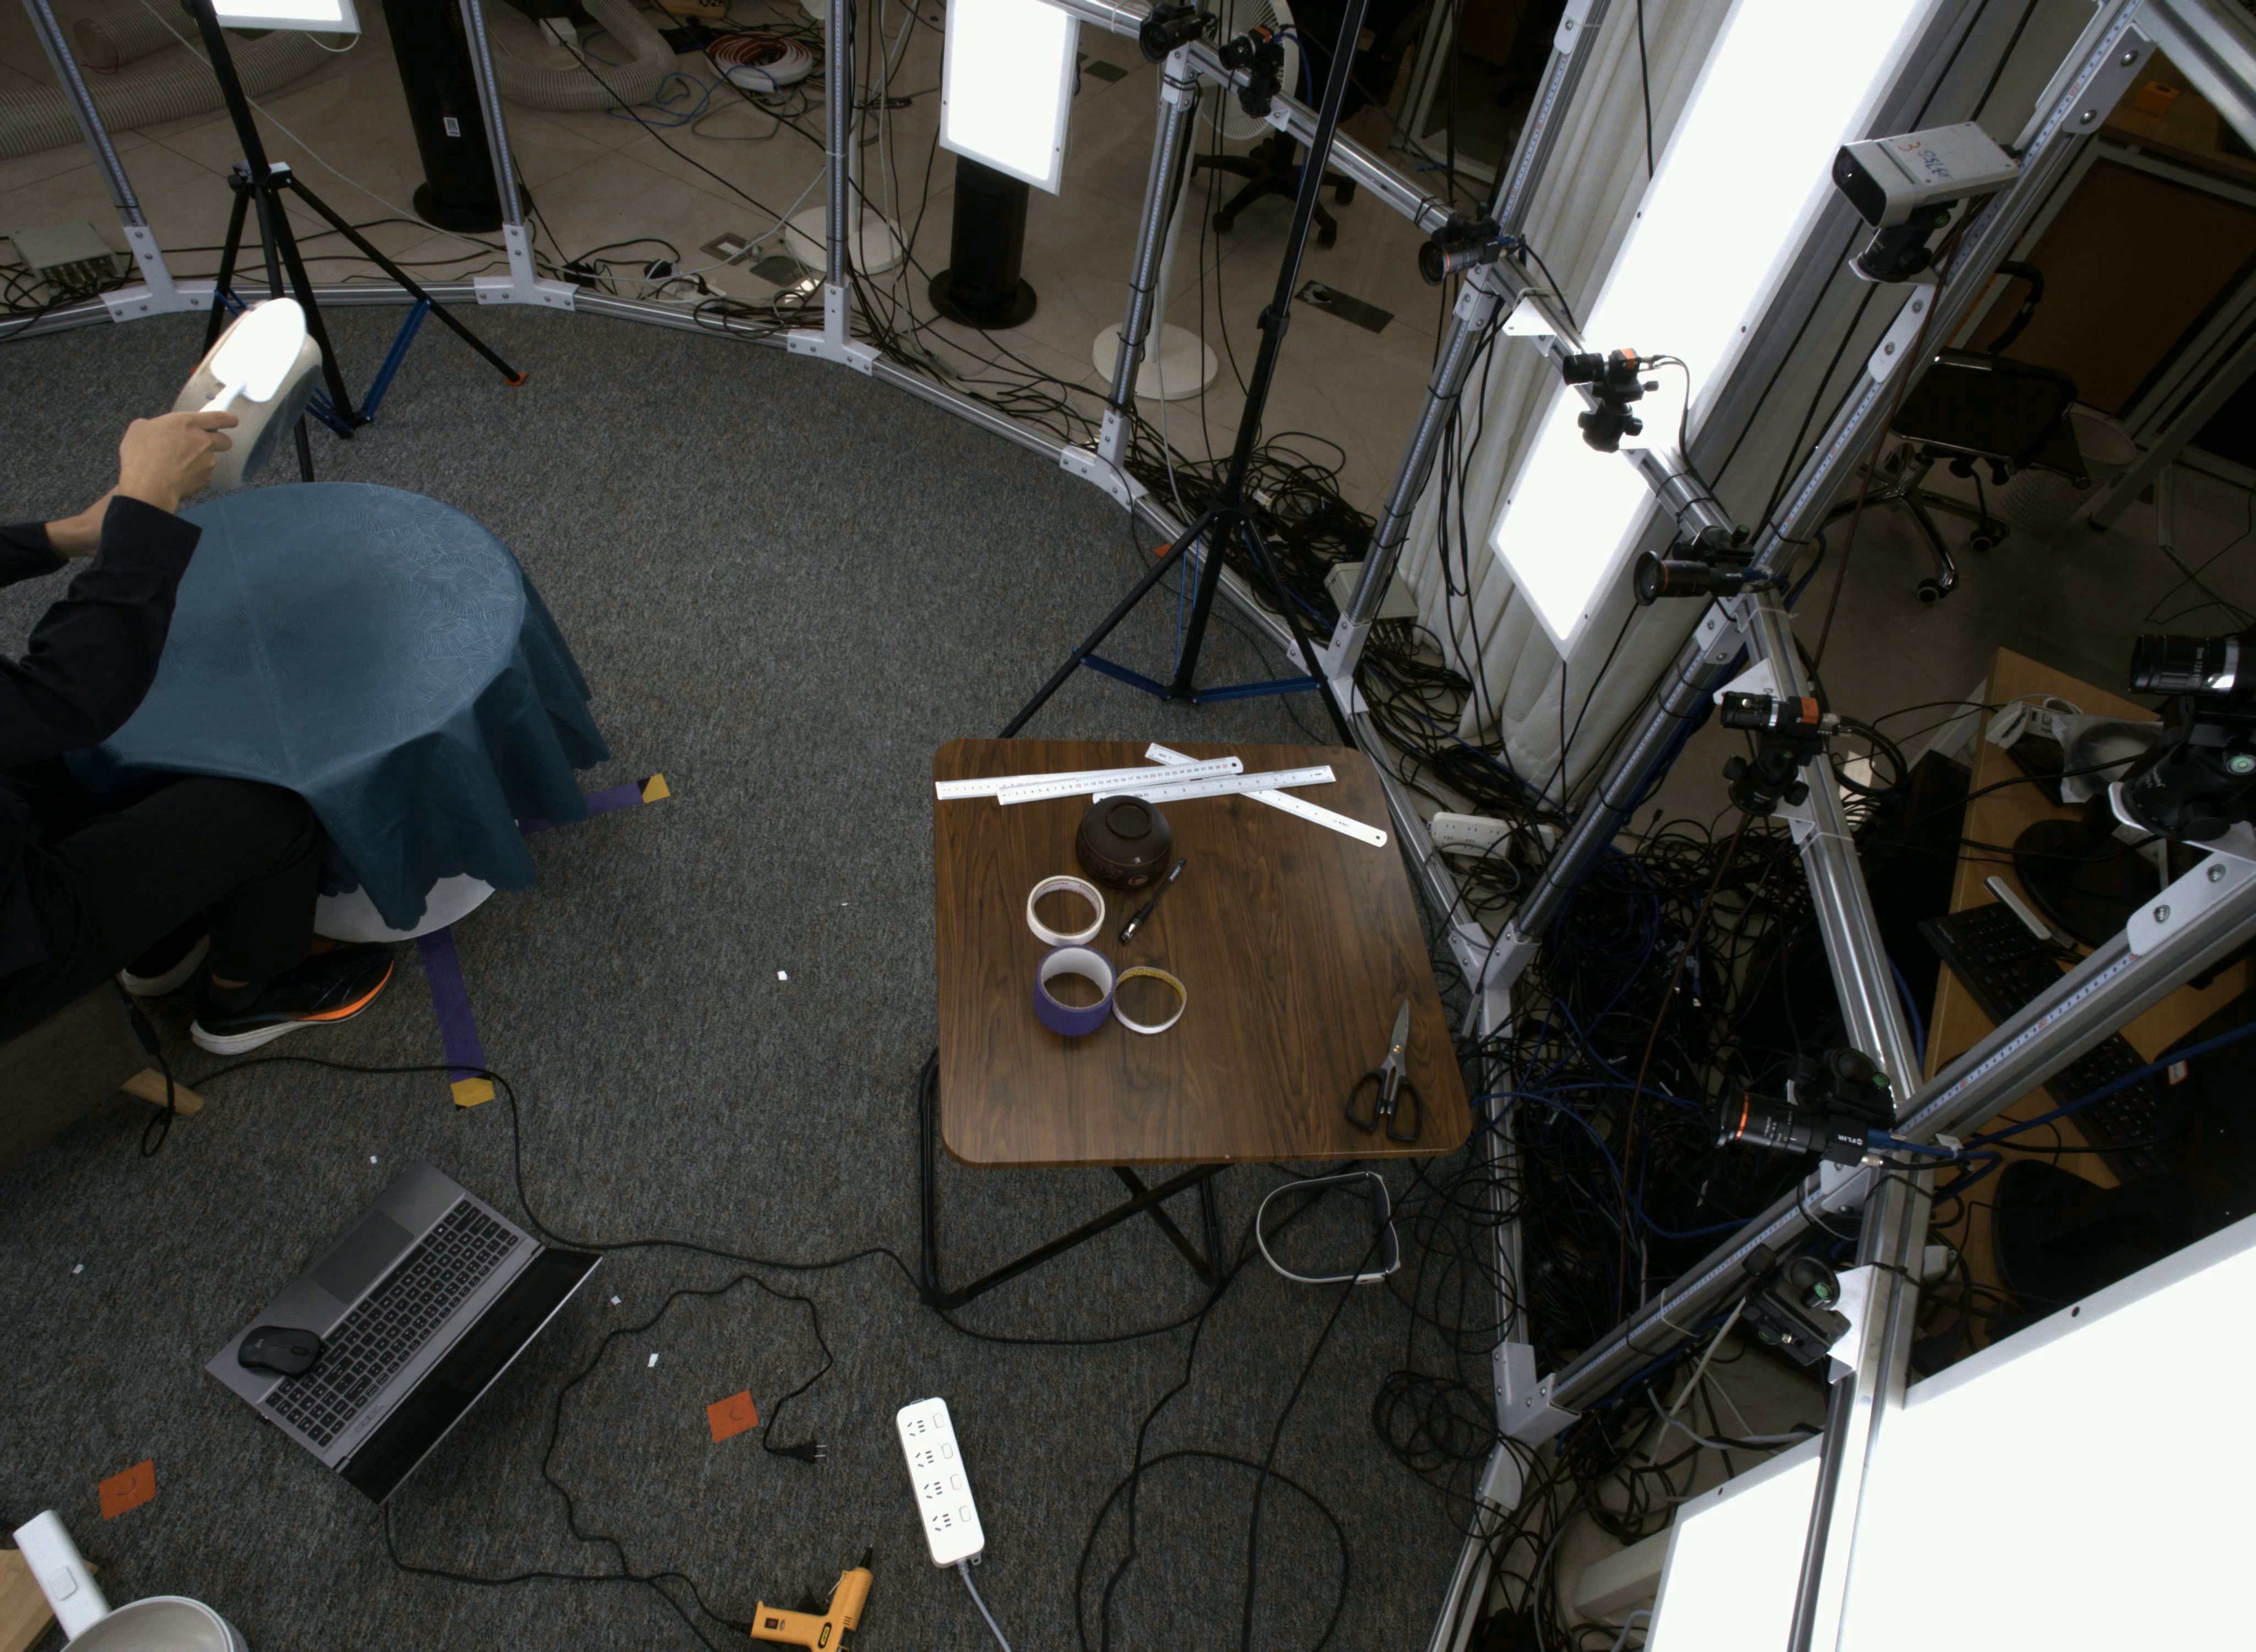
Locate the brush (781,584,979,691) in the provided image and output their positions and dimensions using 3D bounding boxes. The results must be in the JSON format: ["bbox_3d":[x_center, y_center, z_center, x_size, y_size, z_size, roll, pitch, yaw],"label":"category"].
[{"bbox_3d":[-0.350,-0.254,1.828,0.326,0.087,0.080,-32,44,-28],"label":"brush"}]

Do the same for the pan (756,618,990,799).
[{"bbox_3d":[-0.392,-0.163,2.008,0.100,0.434,0.267,50,6,14],"label":"pan"}]
